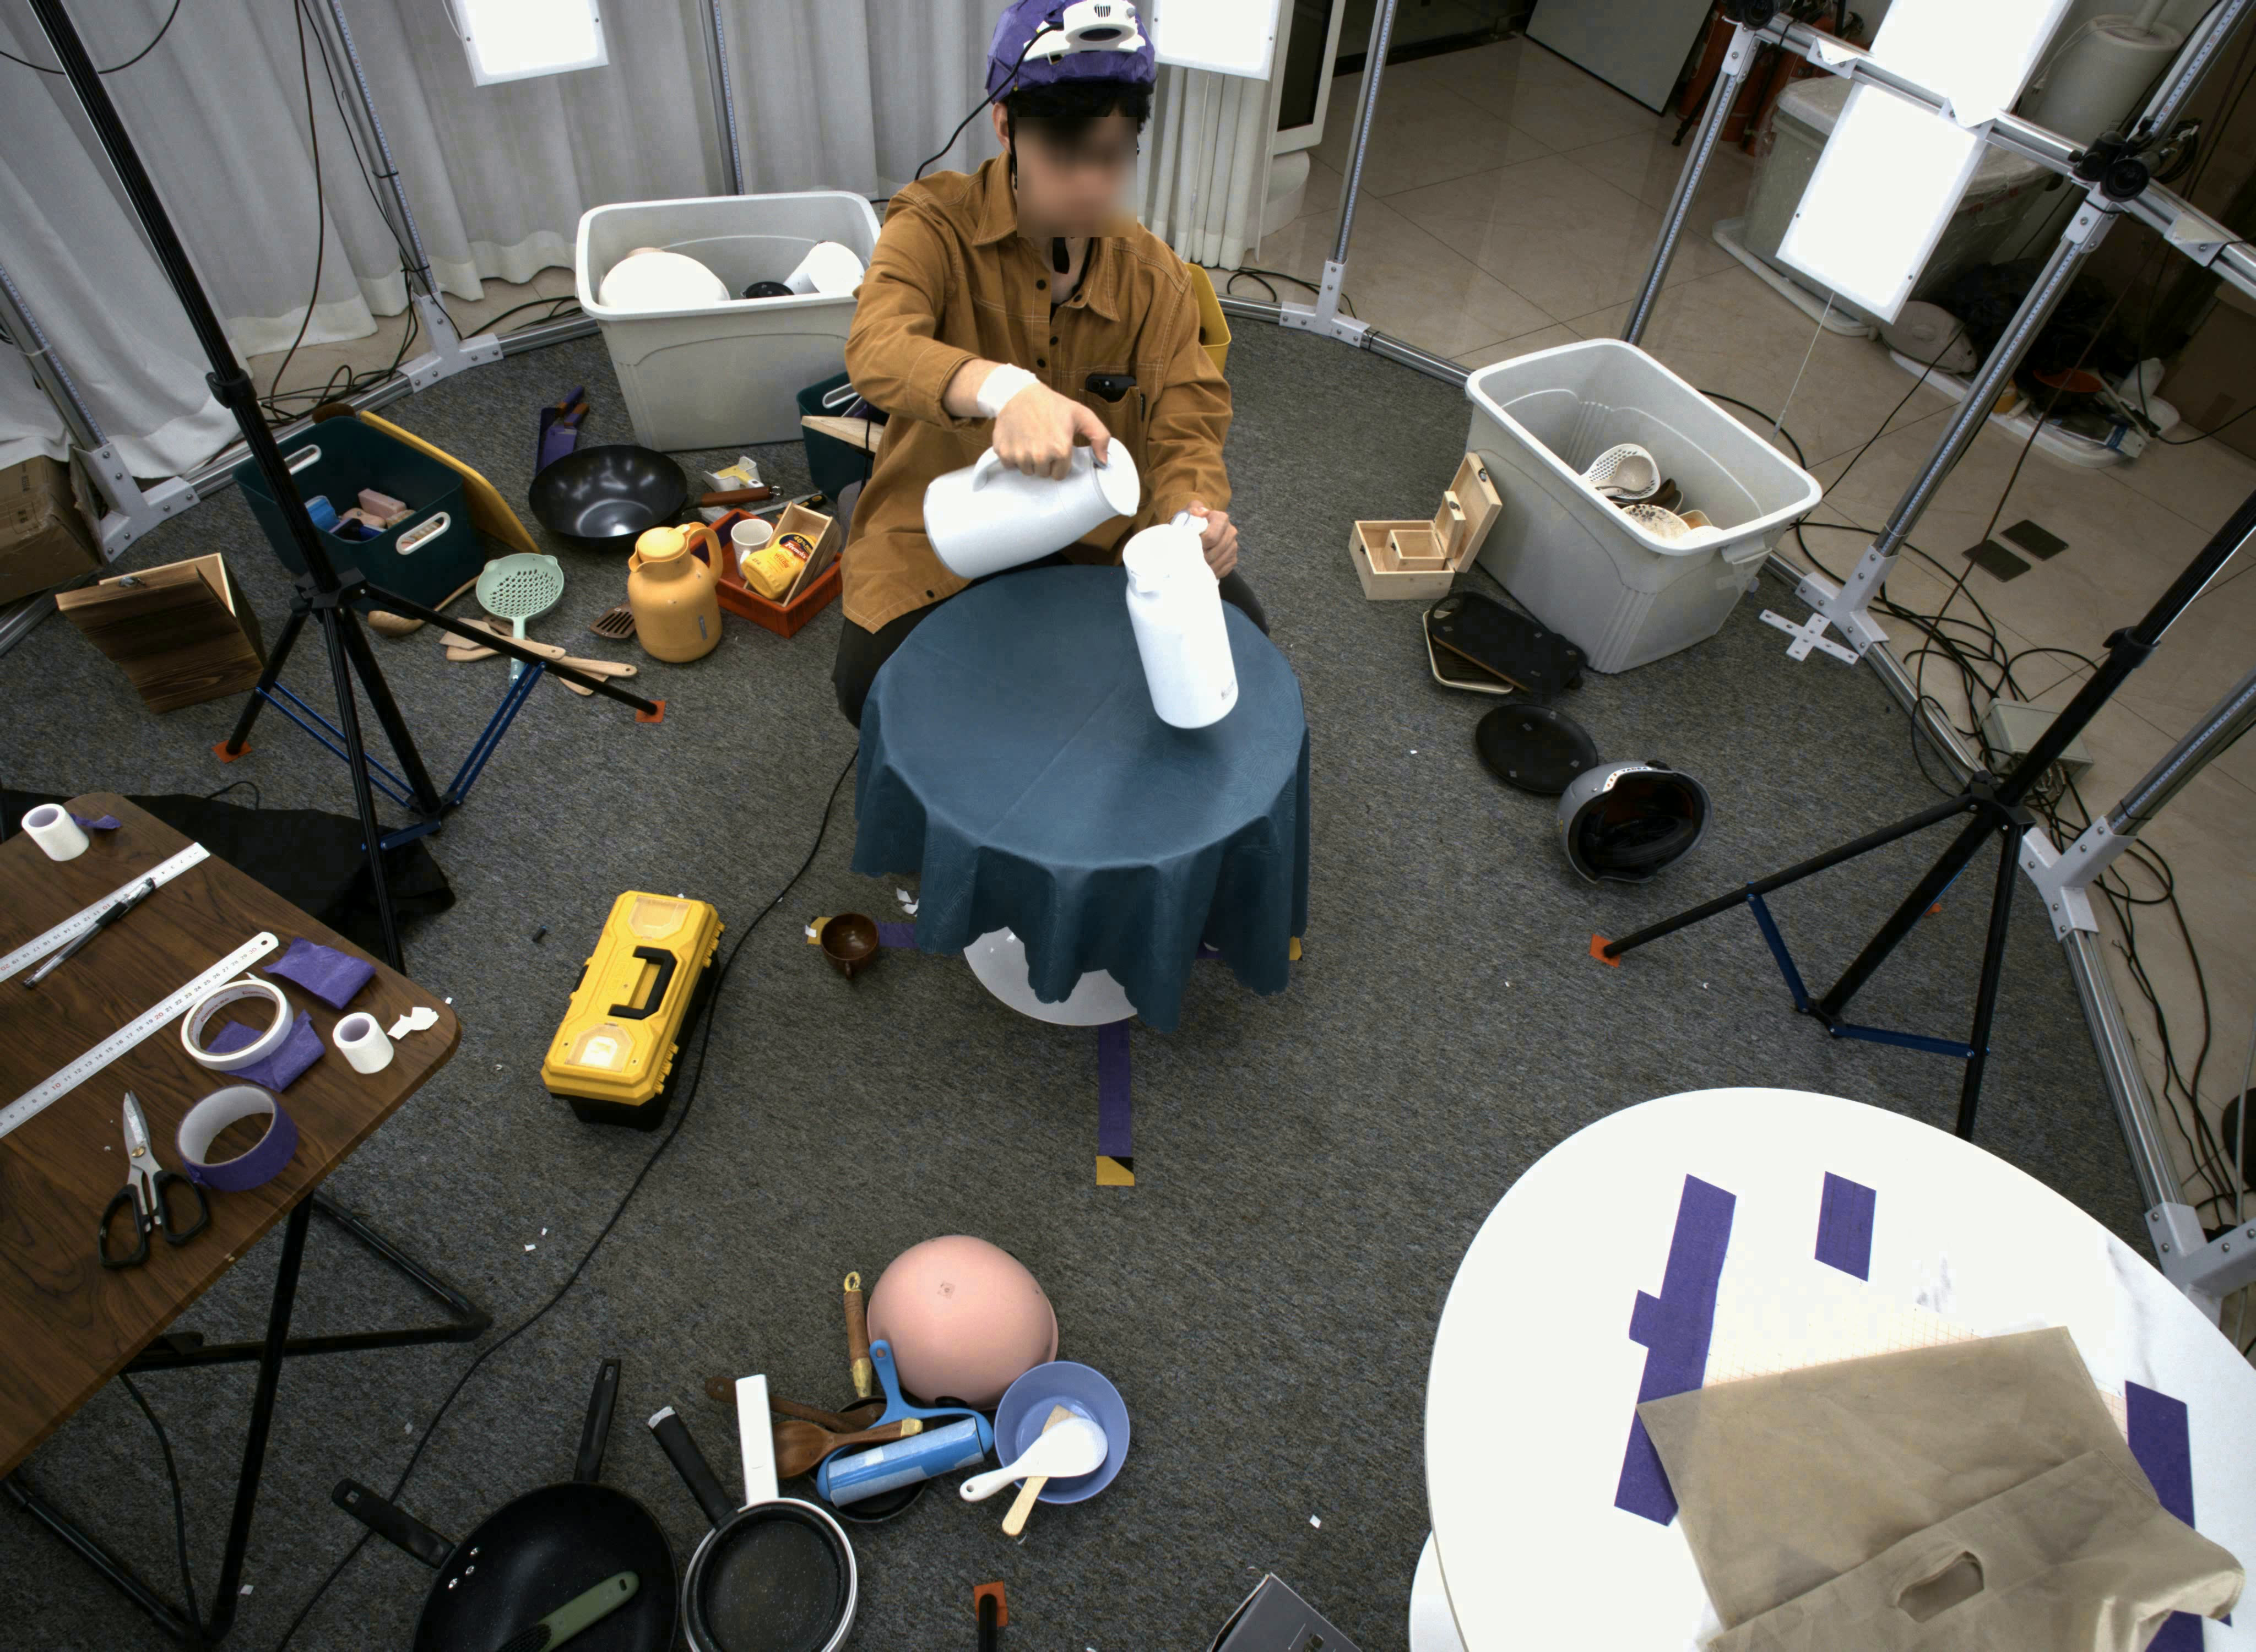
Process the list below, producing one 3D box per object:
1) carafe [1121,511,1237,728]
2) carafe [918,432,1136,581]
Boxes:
[{"bbox_3d":[0.071,-0.268,1.663,0.124,0.262,0.176,10,53,26],"label":"carafe"},{"bbox_3d":[-0.123,-0.391,1.516,0.248,0.165,0.135,-10,64,33],"label":"carafe"}]
